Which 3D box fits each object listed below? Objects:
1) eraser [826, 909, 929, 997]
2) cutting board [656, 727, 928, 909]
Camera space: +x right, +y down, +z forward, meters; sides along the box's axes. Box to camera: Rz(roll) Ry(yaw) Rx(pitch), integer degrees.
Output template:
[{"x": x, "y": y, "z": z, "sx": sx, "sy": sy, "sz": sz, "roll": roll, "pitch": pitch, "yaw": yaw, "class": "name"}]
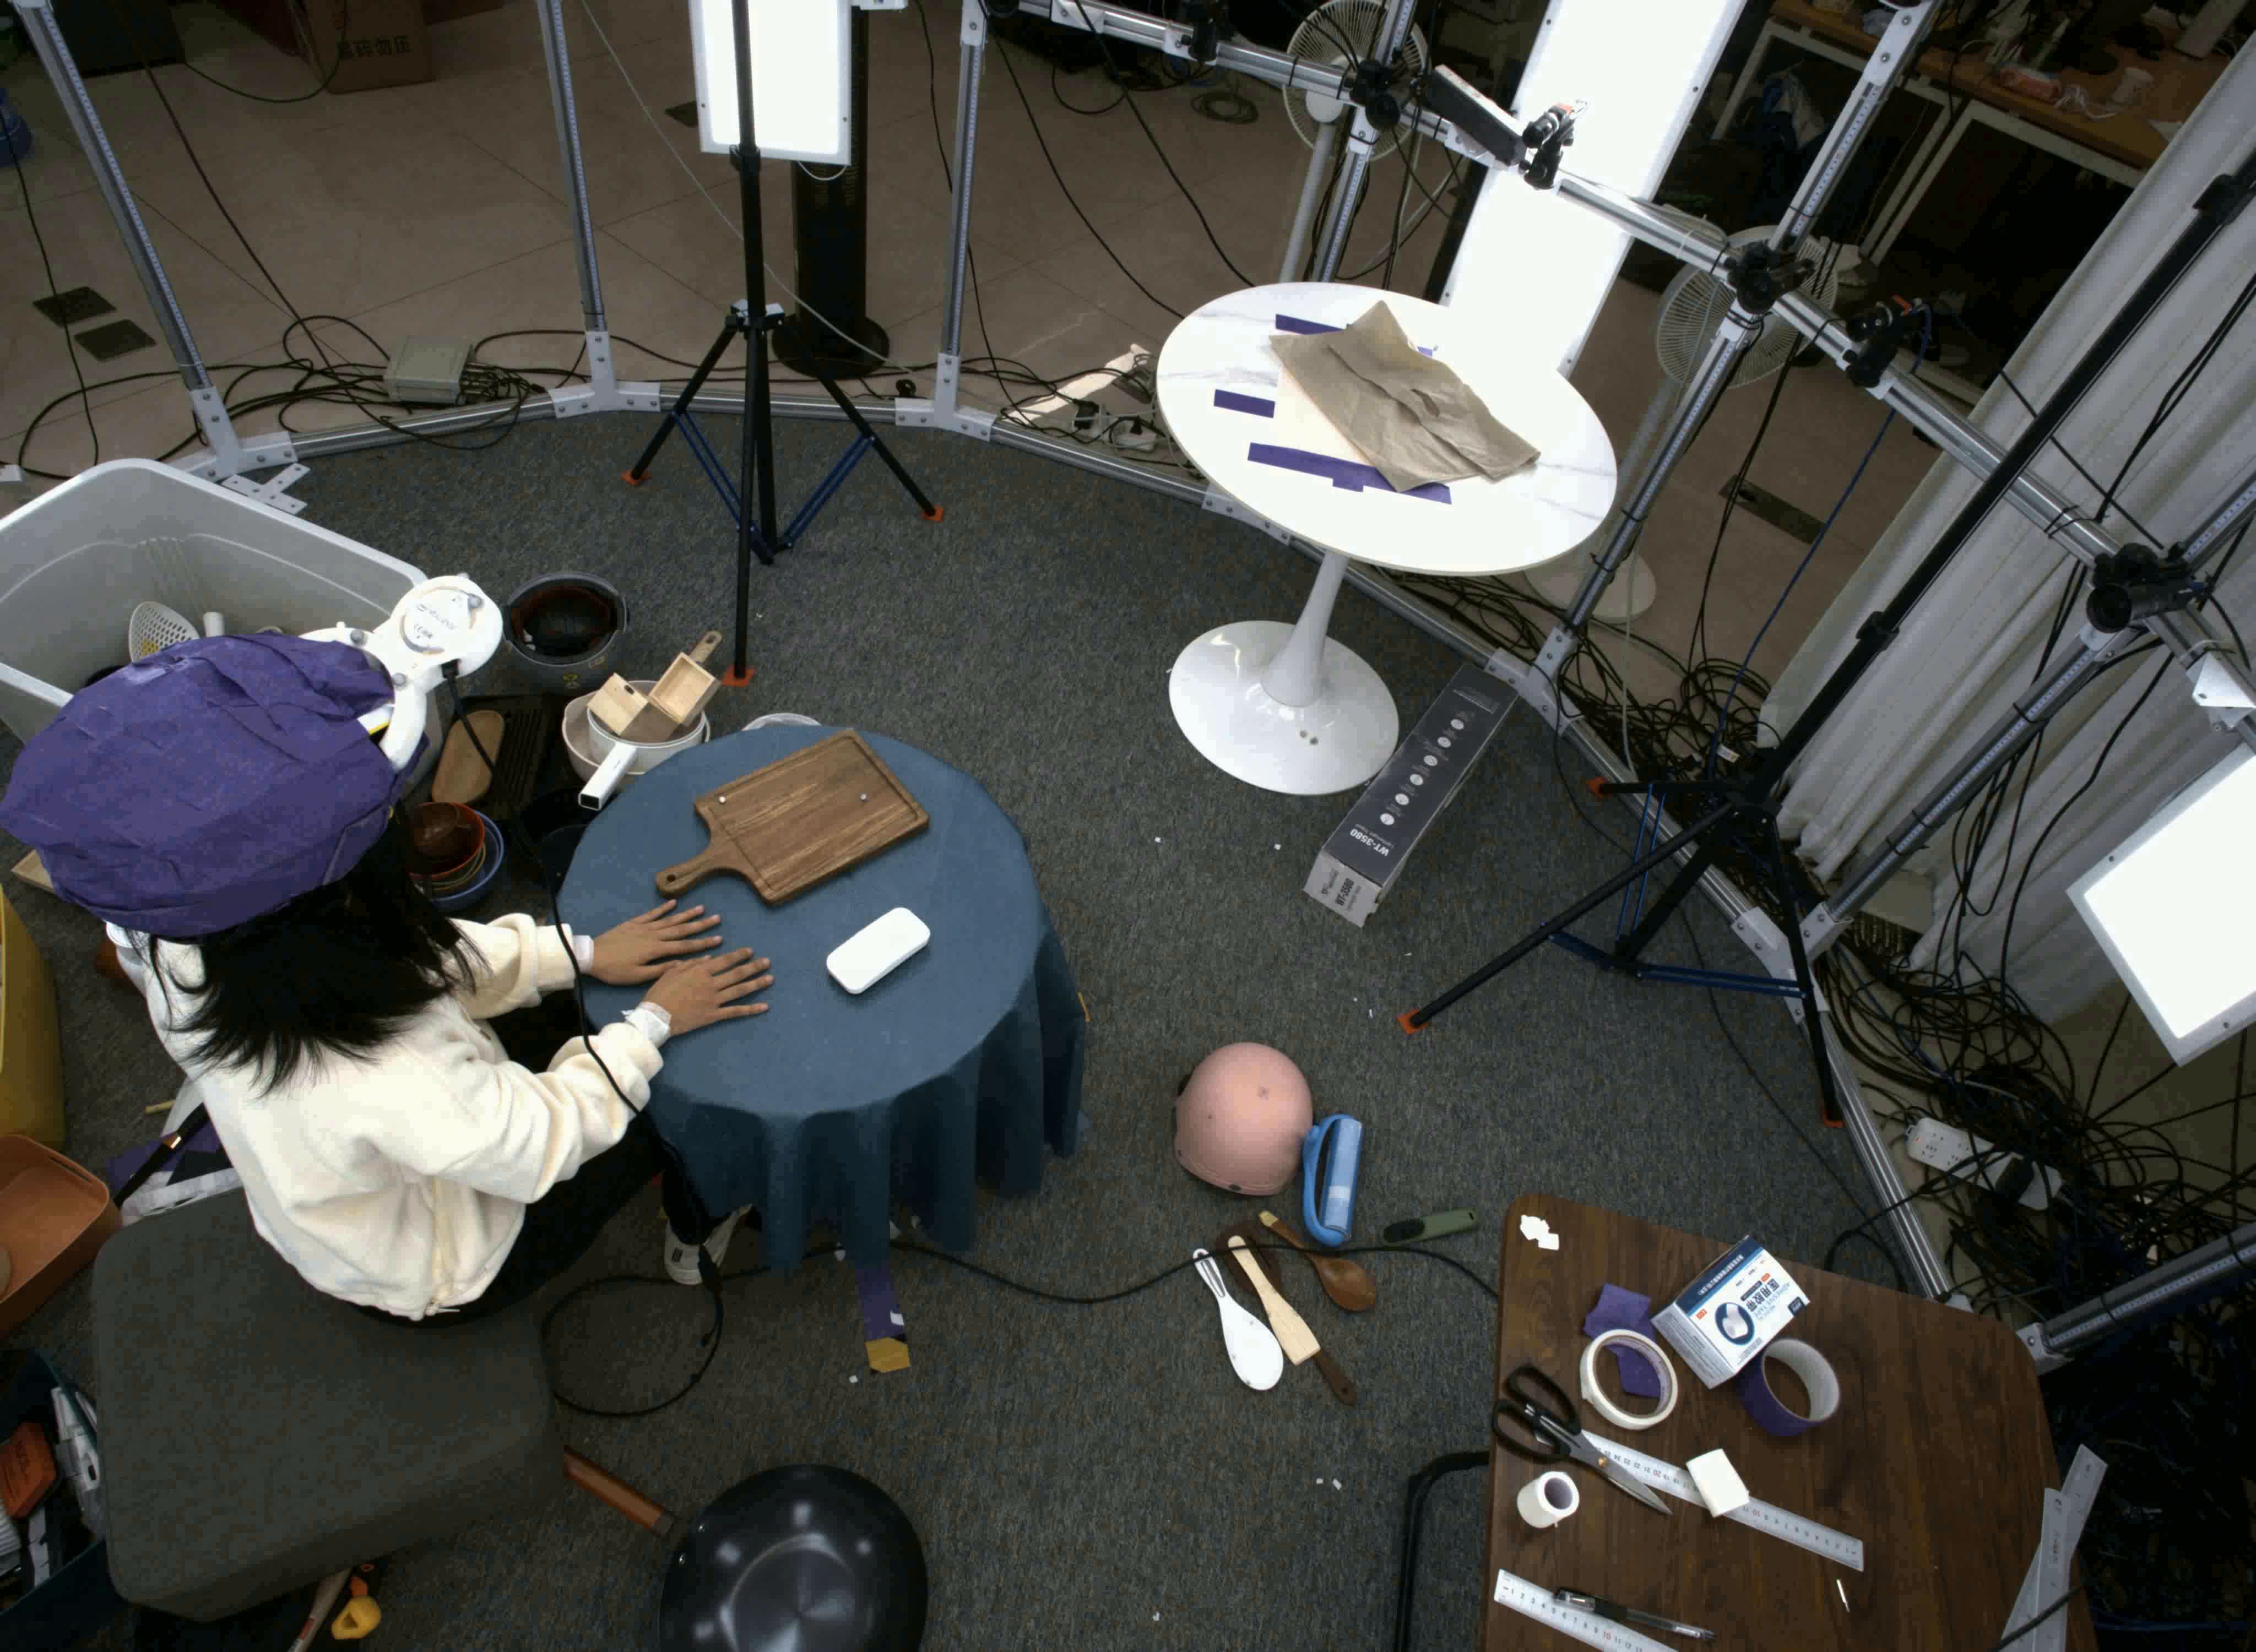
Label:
[{"x": -0.311, "y": 0.153, "z": 1.614, "sx": 0.062, "sy": 0.035, "sz": 0.131, "roll": 42, "pitch": 55, "yaw": 17, "class": "eraser"}, {"x": -0.457, "y": 0.003, "z": 1.694, "sx": 0.353, "sy": 0.023, "sz": 0.196, "roll": -31, "pitch": 66, "yaw": -32, "class": "cutting board"}]
